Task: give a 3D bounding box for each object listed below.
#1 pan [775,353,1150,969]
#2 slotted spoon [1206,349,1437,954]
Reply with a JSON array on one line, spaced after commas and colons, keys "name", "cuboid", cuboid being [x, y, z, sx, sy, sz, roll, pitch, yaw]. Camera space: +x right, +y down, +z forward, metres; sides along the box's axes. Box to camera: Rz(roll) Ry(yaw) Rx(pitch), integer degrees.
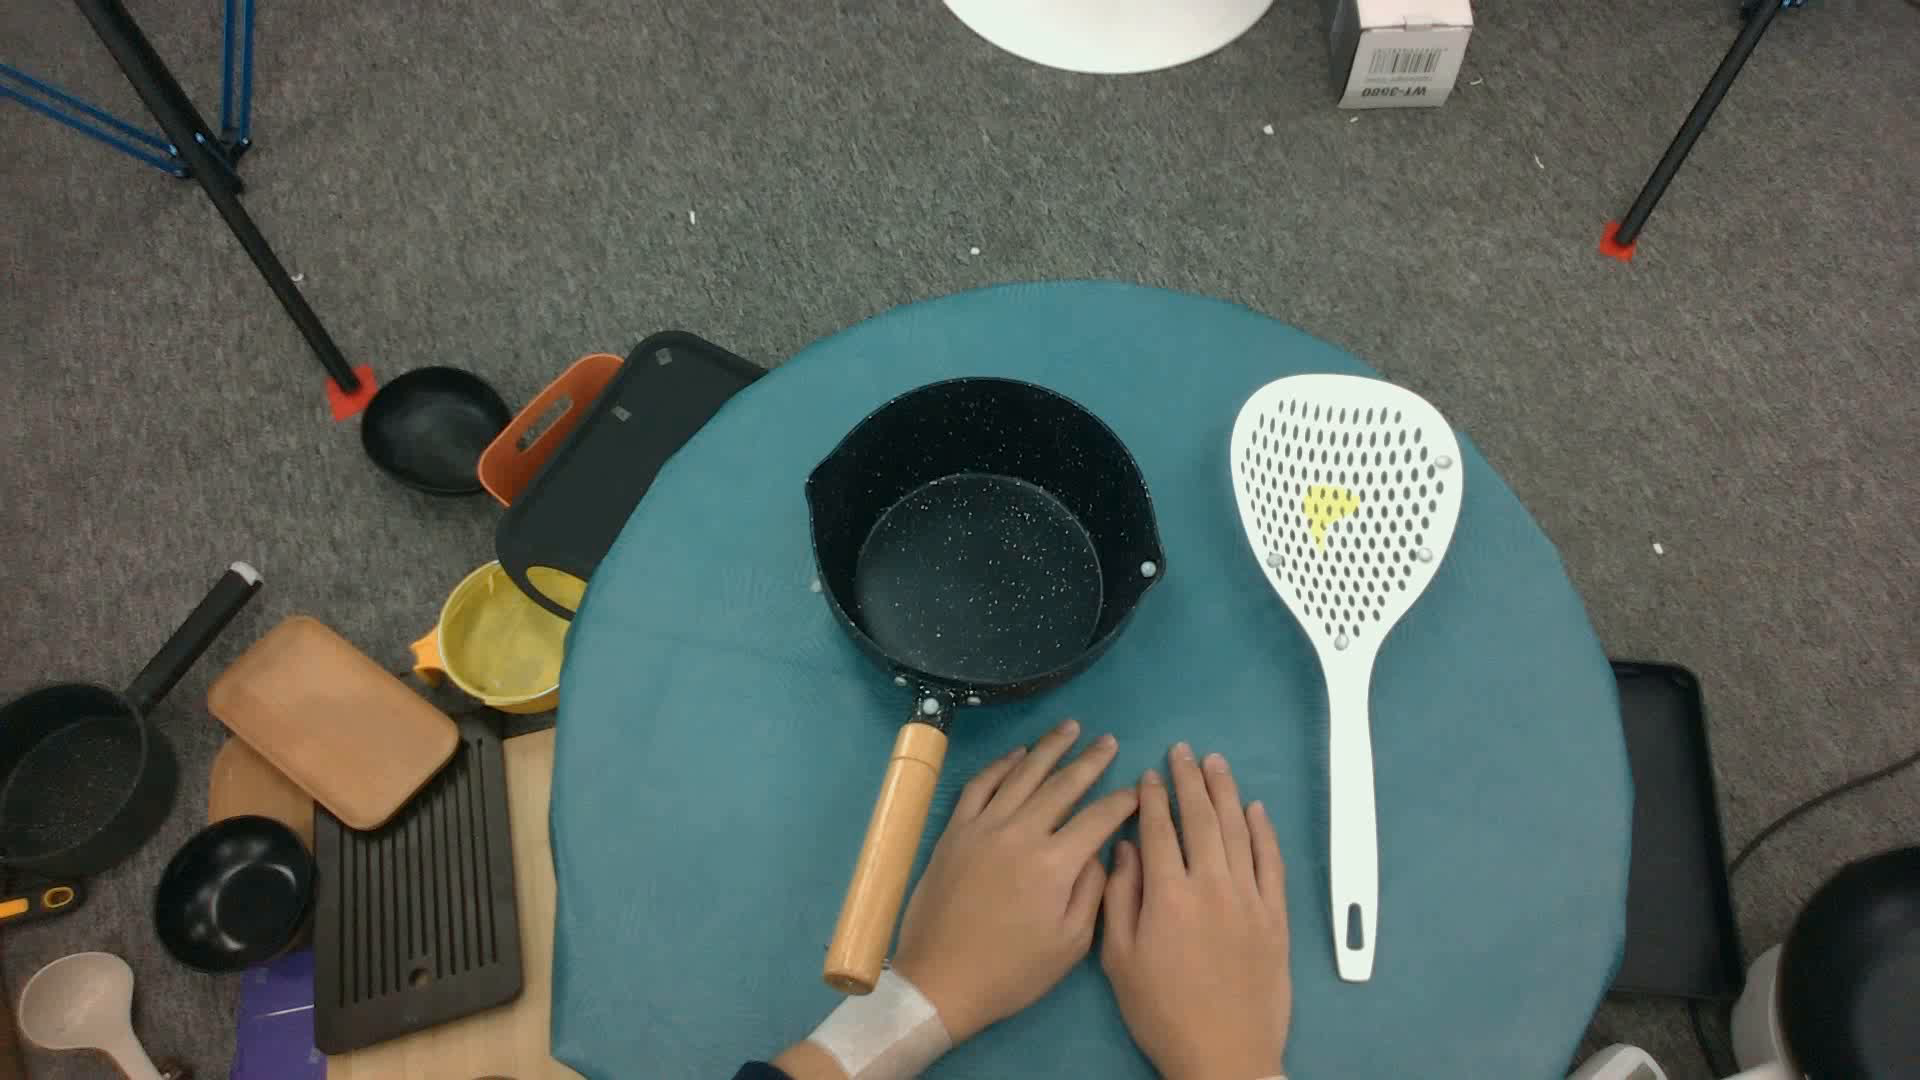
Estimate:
[{"name": "pan", "cuboid": [-0.017, 0.061, 0.725, 0.207, 0.108, 0.344, 13, 63, 3]}, {"name": "slotted spoon", "cuboid": [0.206, 0.049, 0.774, 0.137, 0.050, 0.349, 4, 63, -2]}]
